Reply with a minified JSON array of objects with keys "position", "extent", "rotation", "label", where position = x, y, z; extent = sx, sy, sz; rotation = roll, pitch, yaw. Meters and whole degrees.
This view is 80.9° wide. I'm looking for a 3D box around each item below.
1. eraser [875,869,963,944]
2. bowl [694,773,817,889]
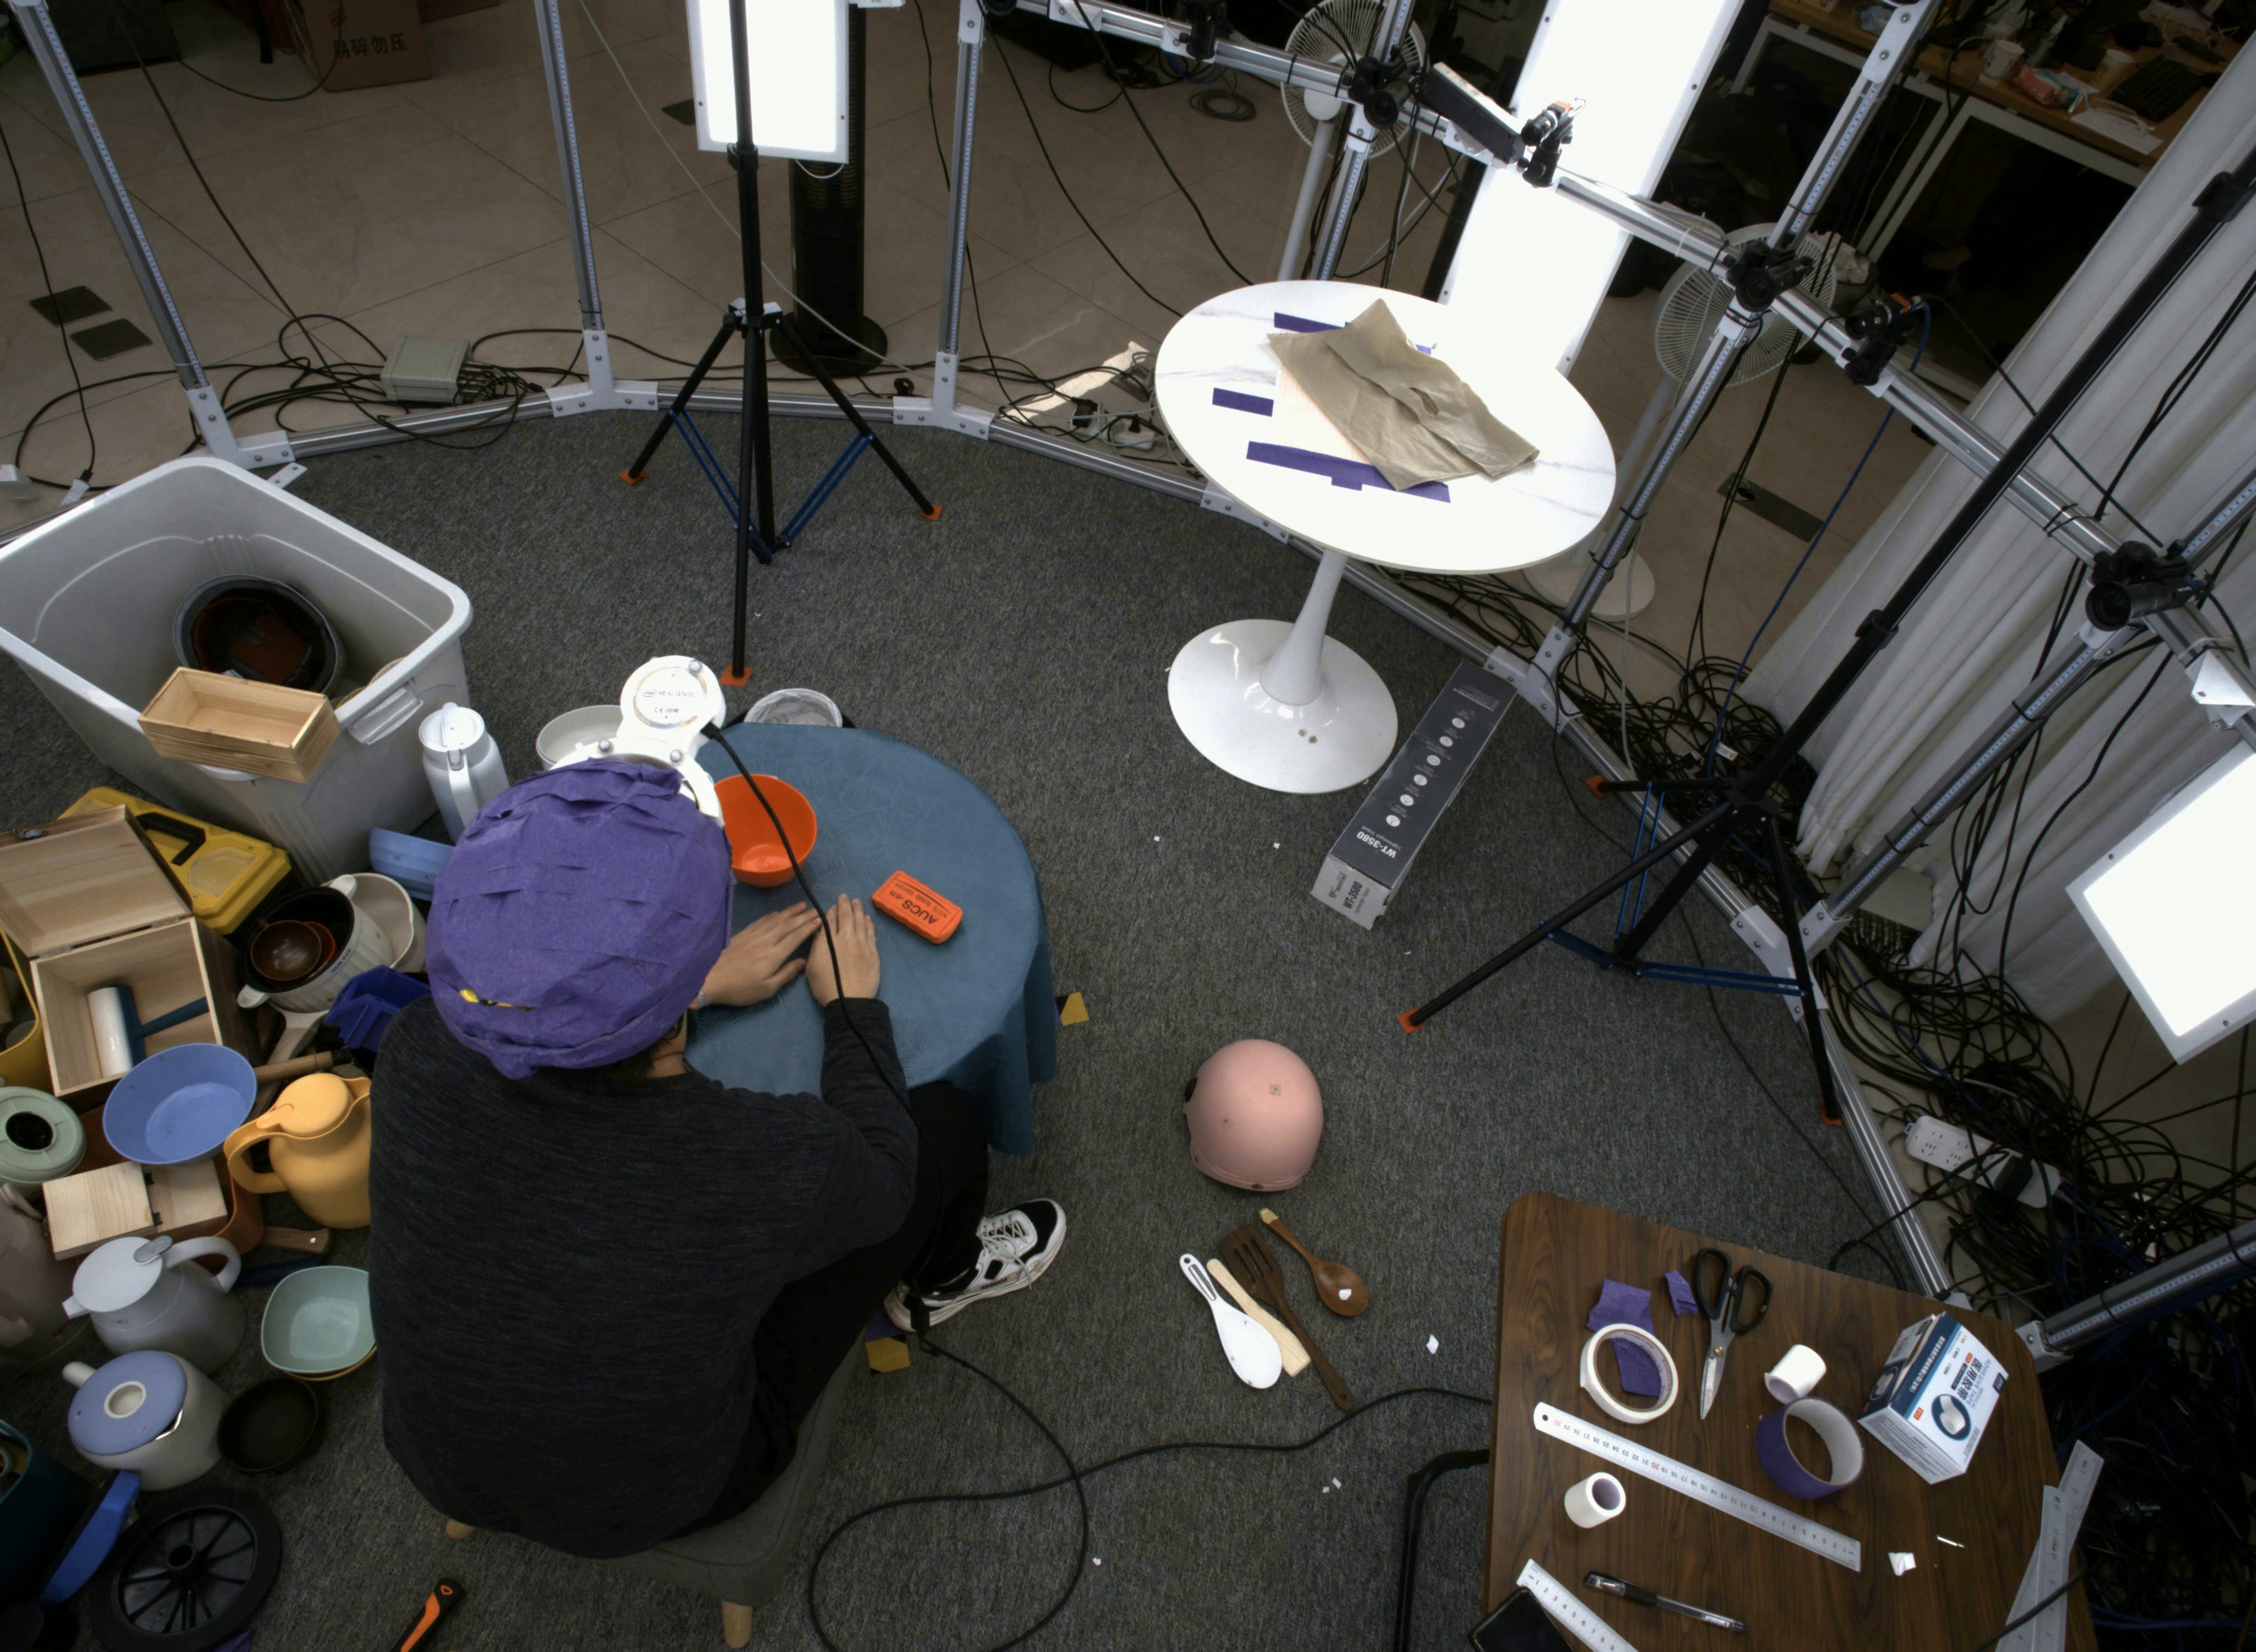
[{"position":[-0.268,0.101,1.666],"extent":[0.106,0.023,0.059],"rotation":[30,50,10],"label":"eraser"},{"position":[-0.466,0.018,1.629],"extent":[0.148,0.107,0.145],"rotation":[8,51,-8],"label":"bowl"}]
